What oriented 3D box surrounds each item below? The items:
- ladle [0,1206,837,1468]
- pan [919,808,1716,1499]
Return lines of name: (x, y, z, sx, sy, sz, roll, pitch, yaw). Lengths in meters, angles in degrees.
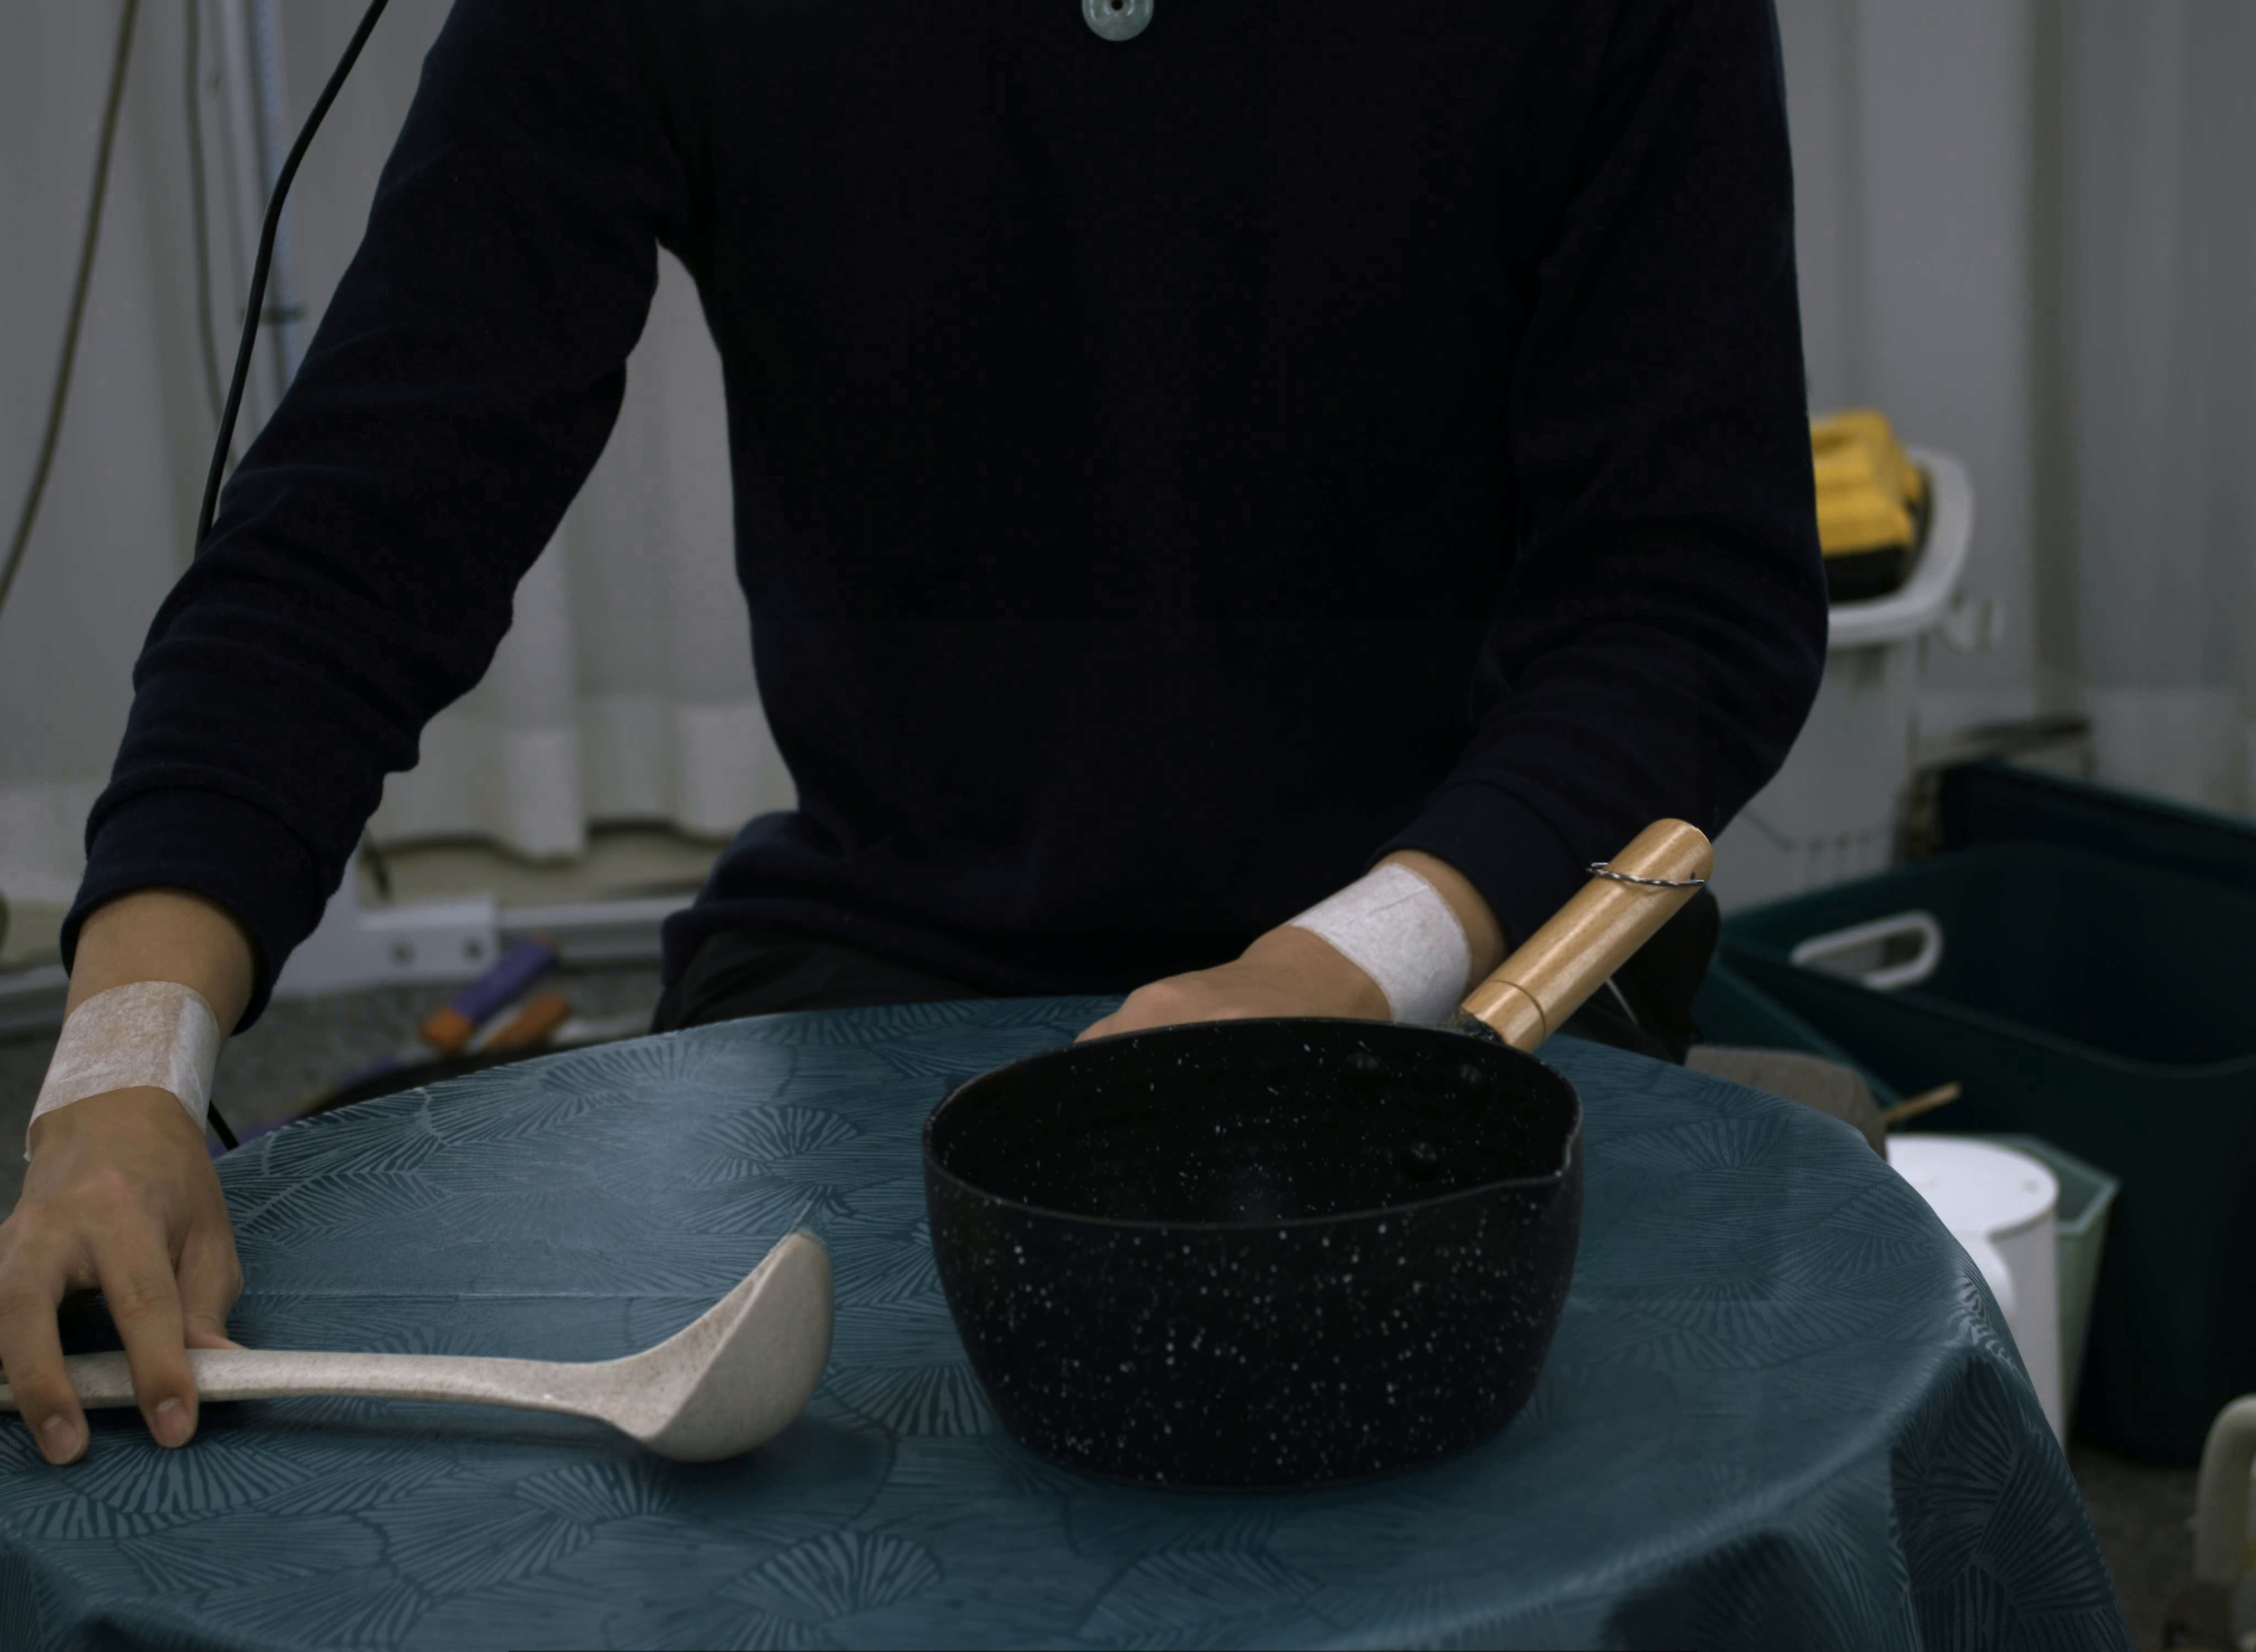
ladle: (-0.214, 0.138, 1.536, 0.274, 0.069, 0.090, 2, 30, 14)
pan: (0.079, 0.090, 1.585, 0.208, 0.108, 0.343, 5, 18, 33)
